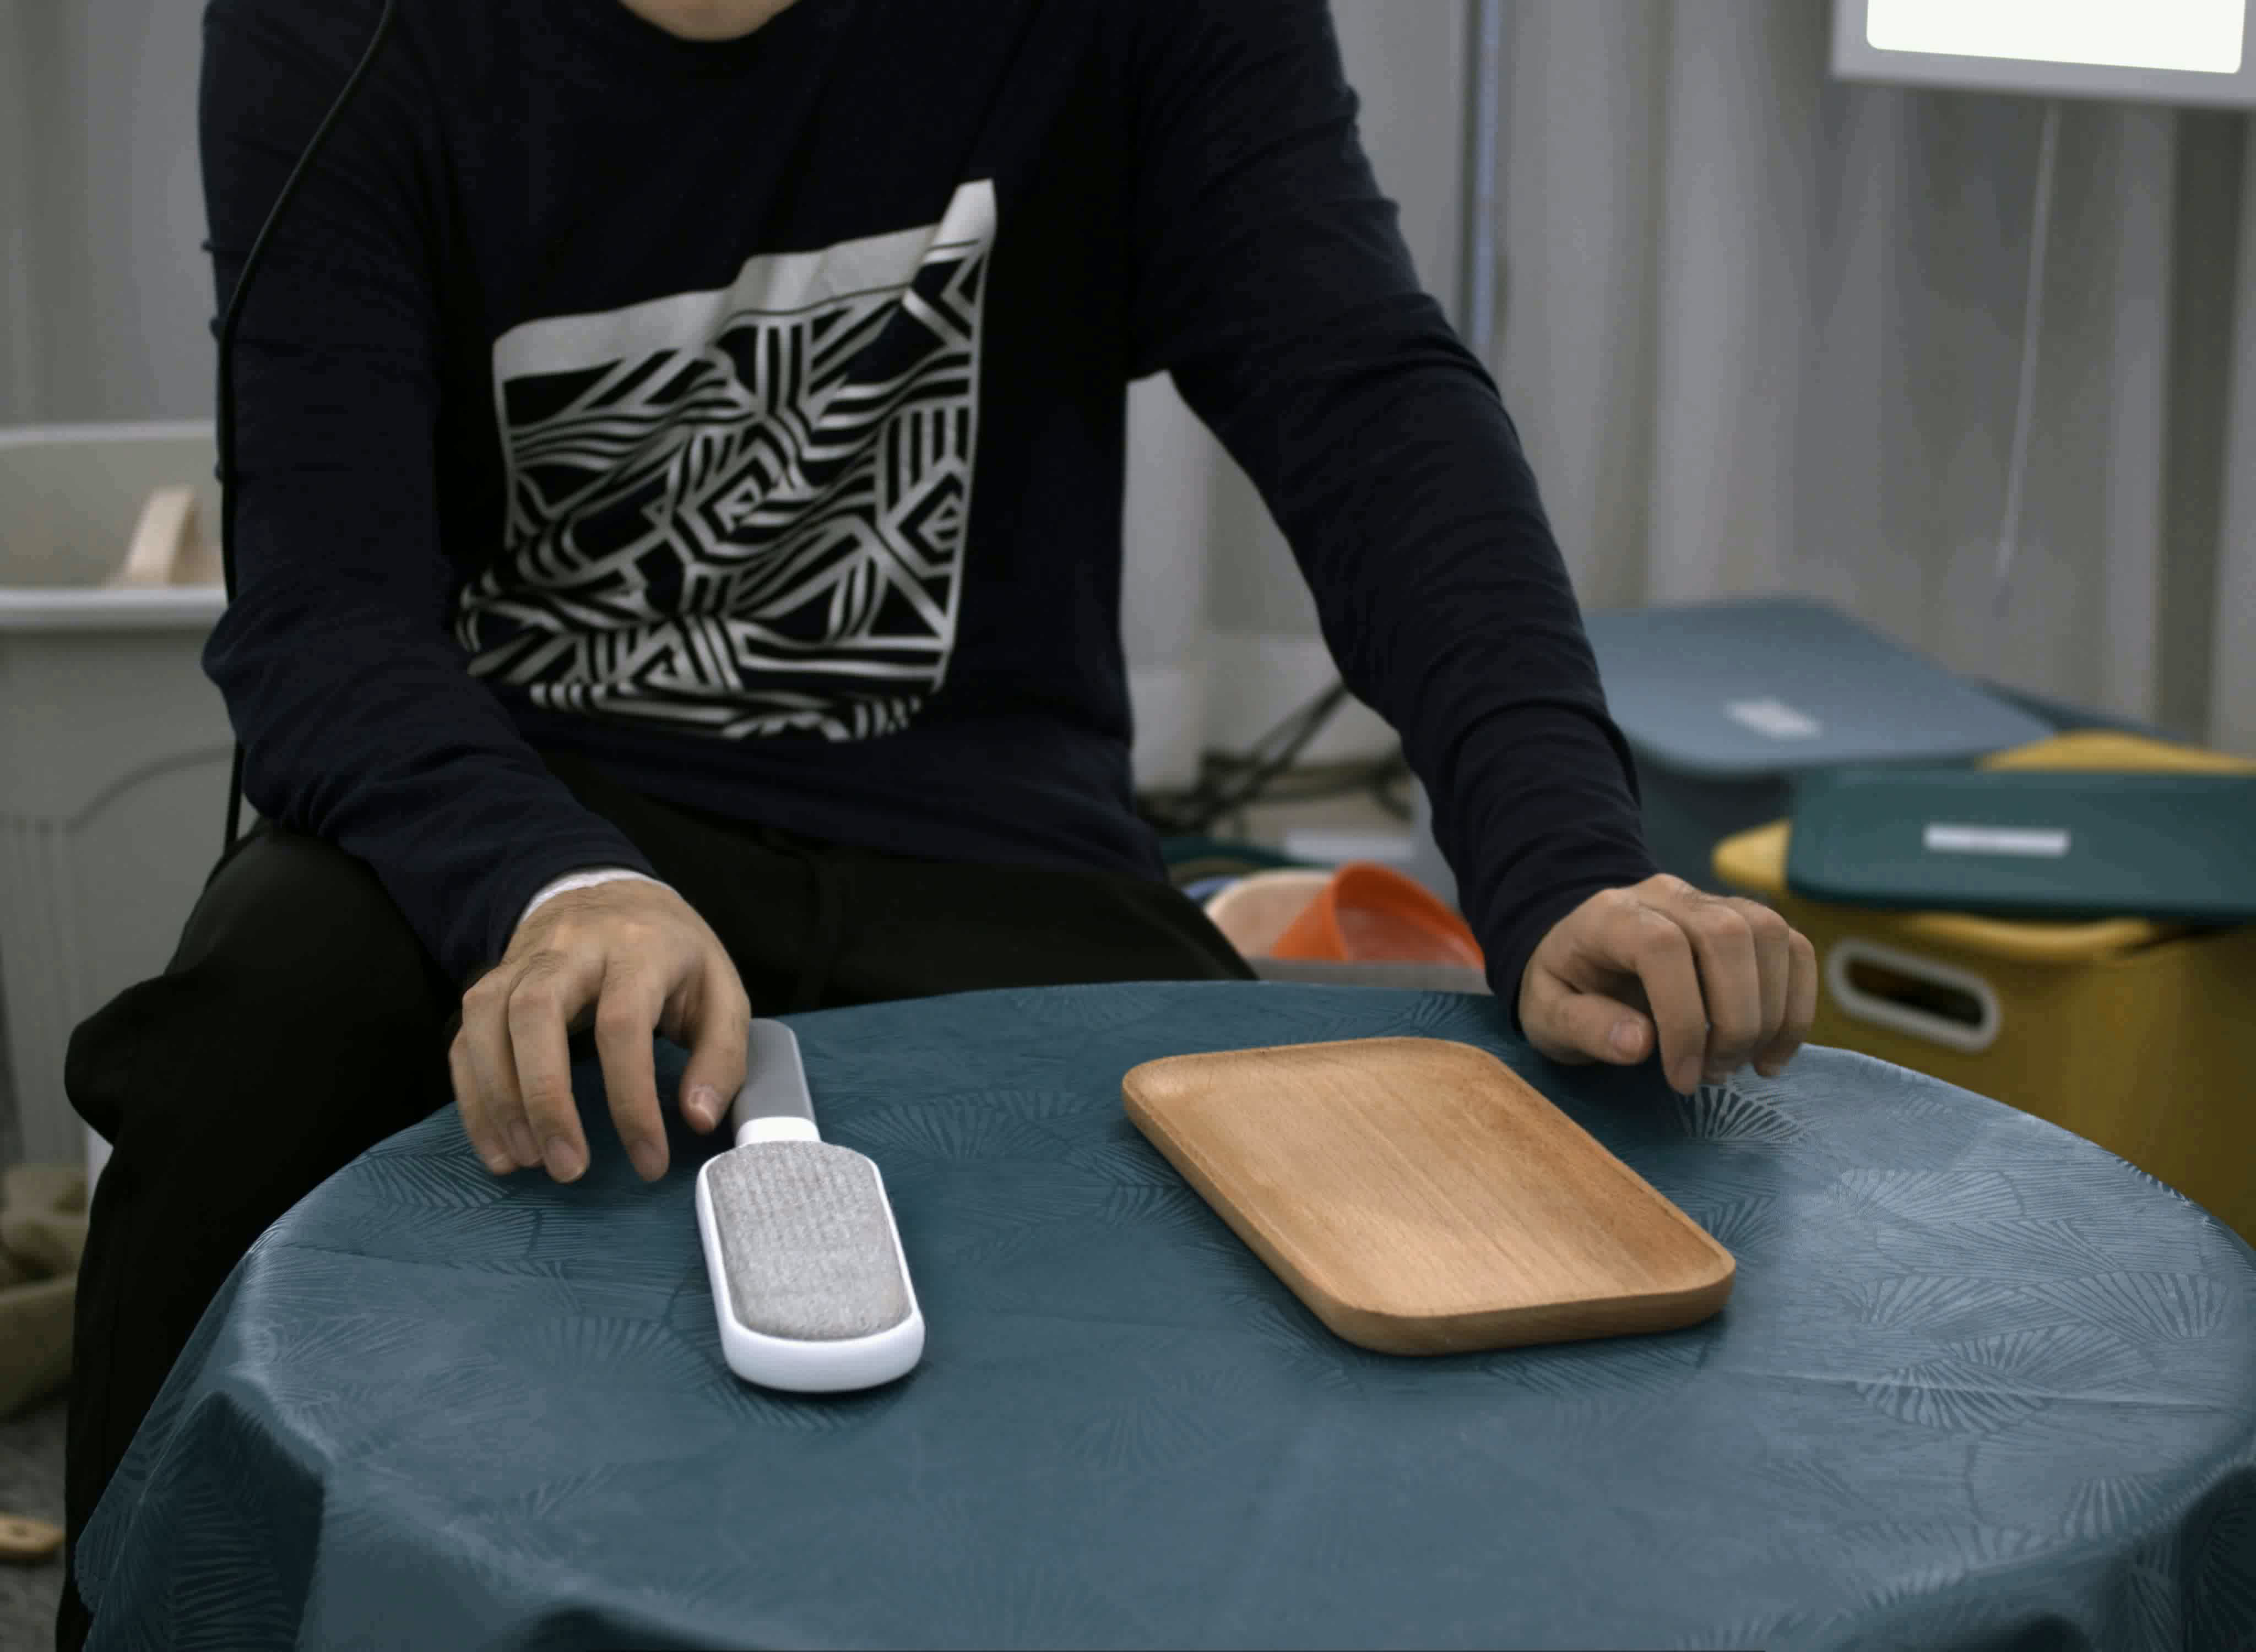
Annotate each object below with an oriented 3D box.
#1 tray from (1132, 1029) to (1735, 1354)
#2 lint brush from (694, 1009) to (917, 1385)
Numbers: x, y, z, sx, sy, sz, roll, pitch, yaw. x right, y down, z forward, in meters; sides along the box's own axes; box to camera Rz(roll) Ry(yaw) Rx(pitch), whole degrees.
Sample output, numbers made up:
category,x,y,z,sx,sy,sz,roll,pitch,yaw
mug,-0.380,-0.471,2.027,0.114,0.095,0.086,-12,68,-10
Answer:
category,x,y,z,sx,sy,sz,roll,pitch,yaw
tray,0.088,0.109,1.609,0.131,0.023,0.248,-1,15,-15
lint brush,-0.101,0.107,1.589,0.060,0.021,0.306,-6,16,-6
